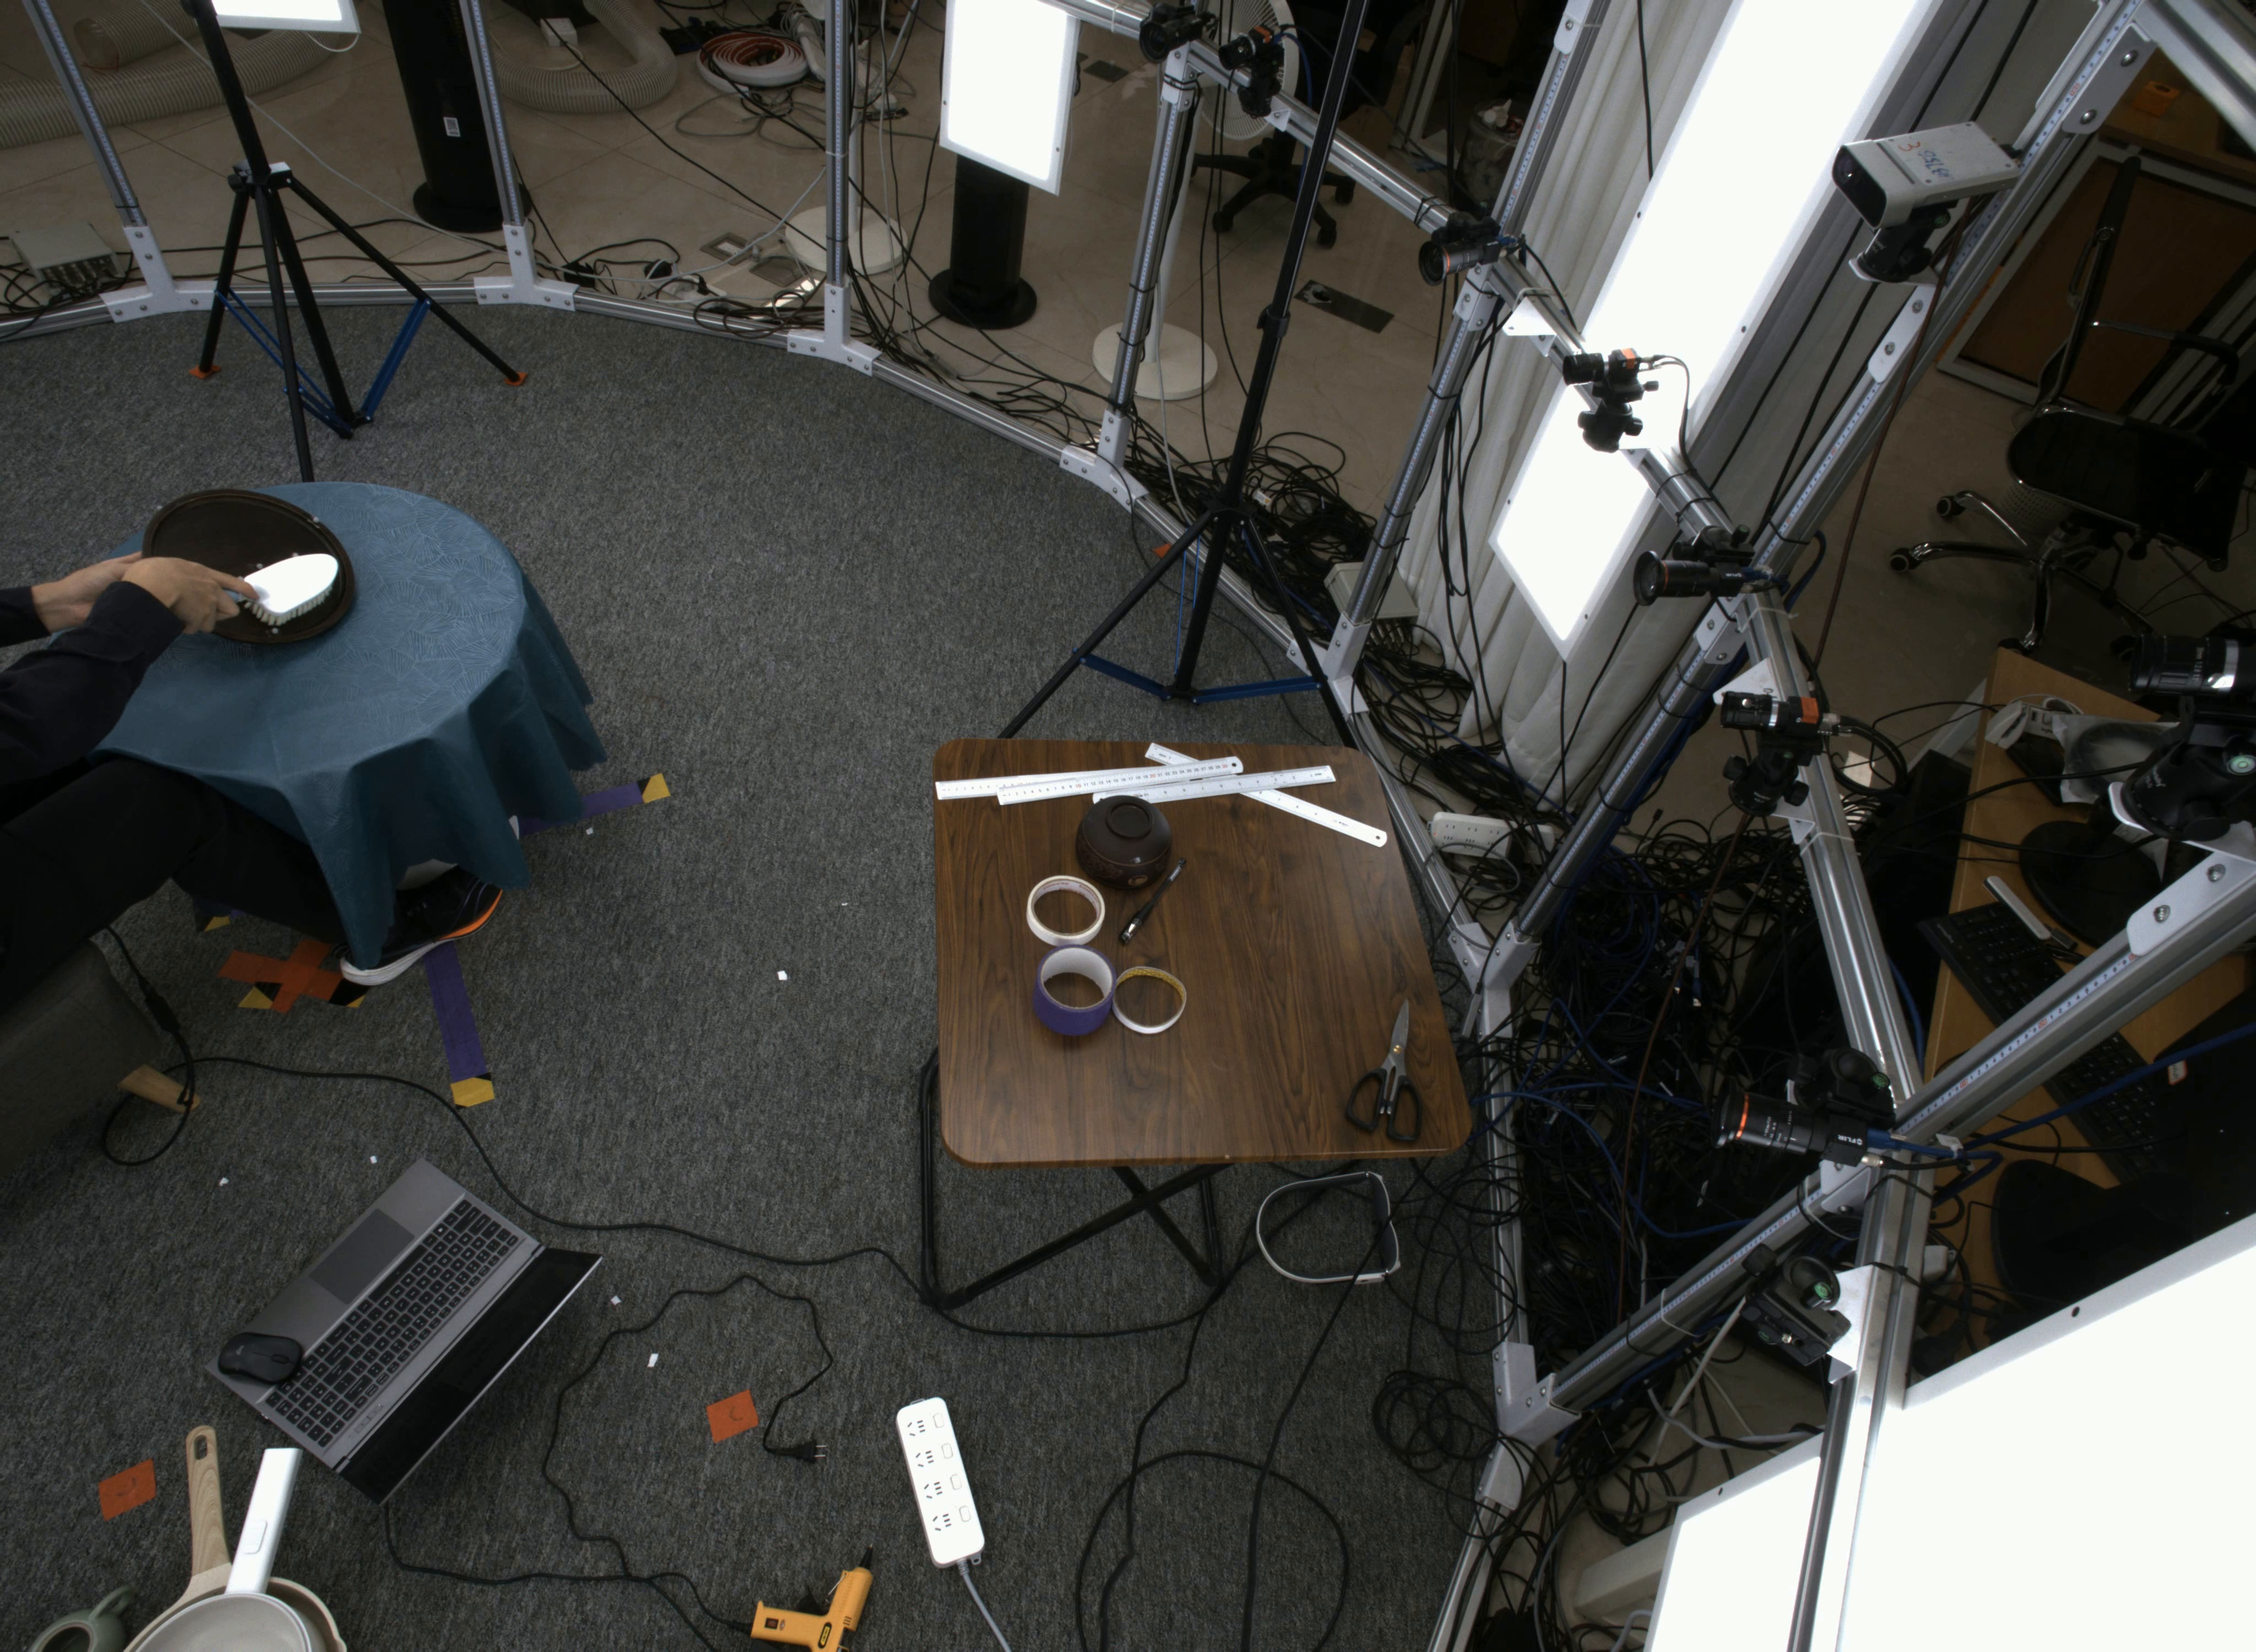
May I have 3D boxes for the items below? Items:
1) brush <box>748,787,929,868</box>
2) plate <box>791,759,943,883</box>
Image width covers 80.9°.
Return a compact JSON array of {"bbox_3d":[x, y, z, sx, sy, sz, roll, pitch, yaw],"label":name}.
[{"bbox_3d":[-0.446,0.007,1.963,0.080,0.085,0.334,17,1,43],"label":"brush"},{"bbox_3d":[-0.417,-0.010,2.079,0.258,0.029,0.249,23,41,-19],"label":"plate"}]
